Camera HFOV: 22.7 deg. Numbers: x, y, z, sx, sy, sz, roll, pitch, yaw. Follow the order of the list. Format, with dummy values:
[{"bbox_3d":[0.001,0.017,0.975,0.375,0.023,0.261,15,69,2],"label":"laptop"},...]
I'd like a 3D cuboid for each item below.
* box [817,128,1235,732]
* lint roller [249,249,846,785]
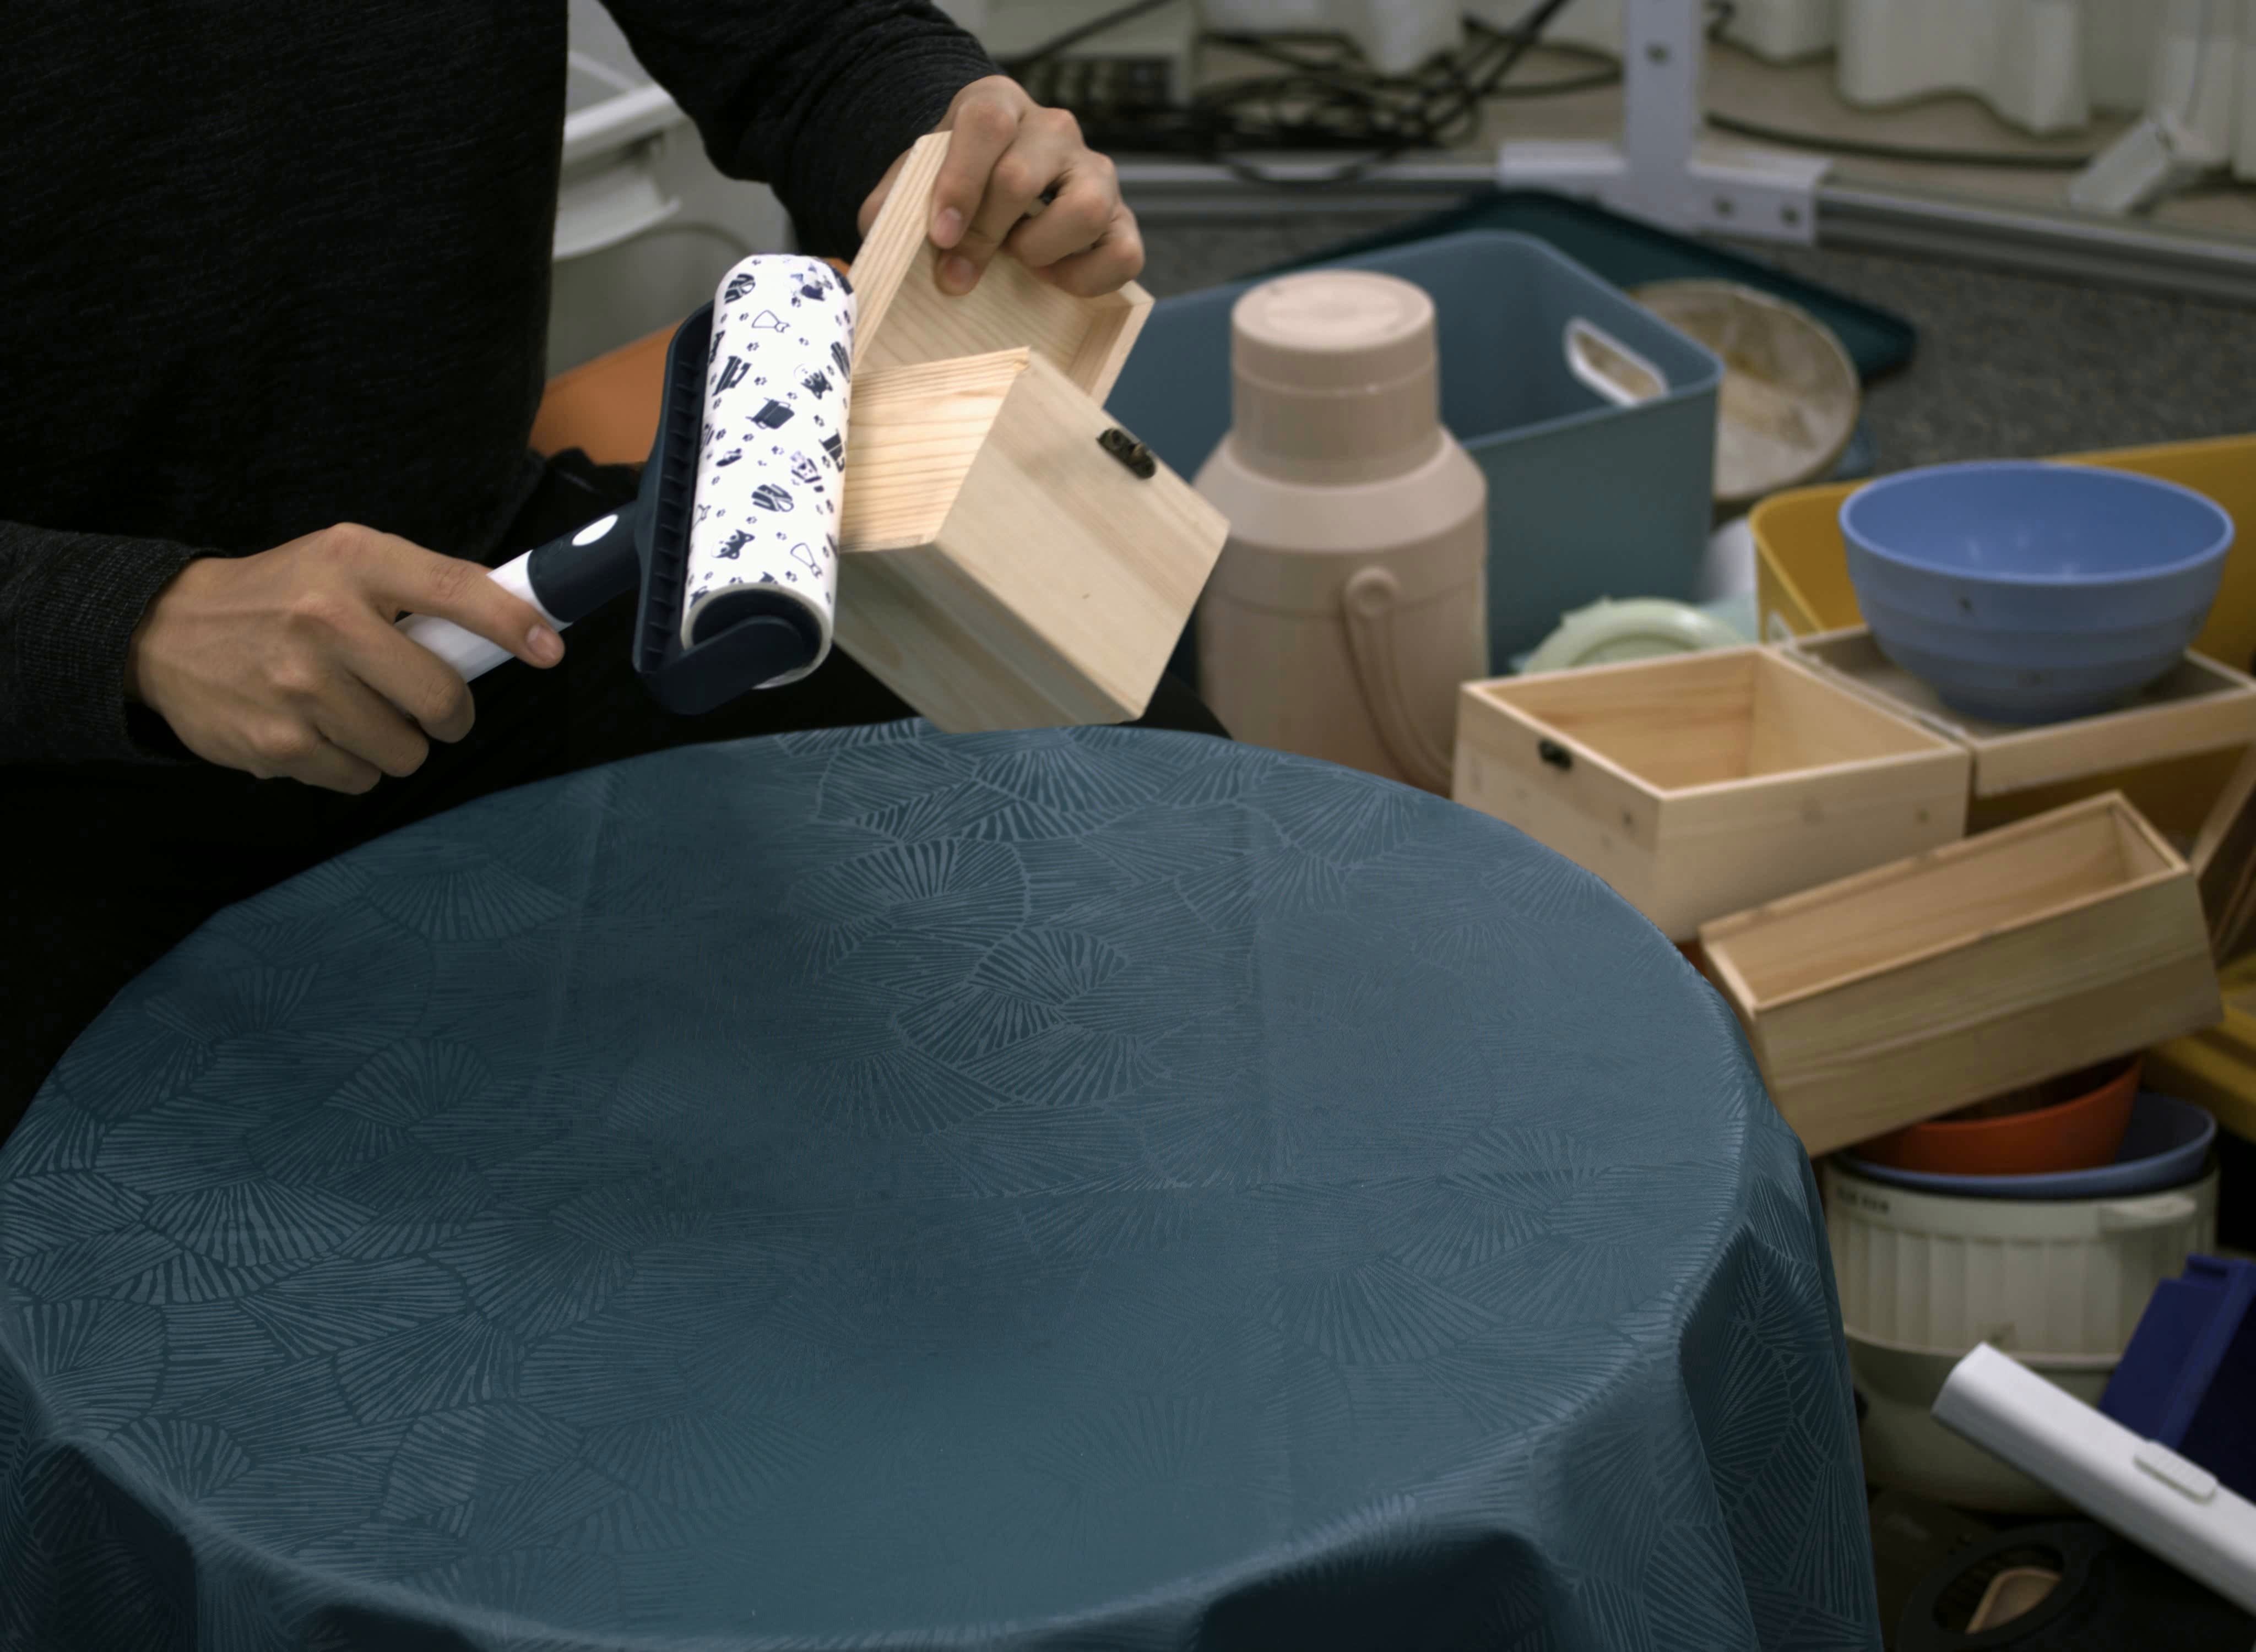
[{"bbox_3d":[-0.030,-0.137,1.866,0.132,0.102,0.187,-6,52,48],"label":"box"},{"bbox_3d":[-0.198,-0.076,1.847,0.244,0.050,0.180,-26,39,23],"label":"lint roller"}]
